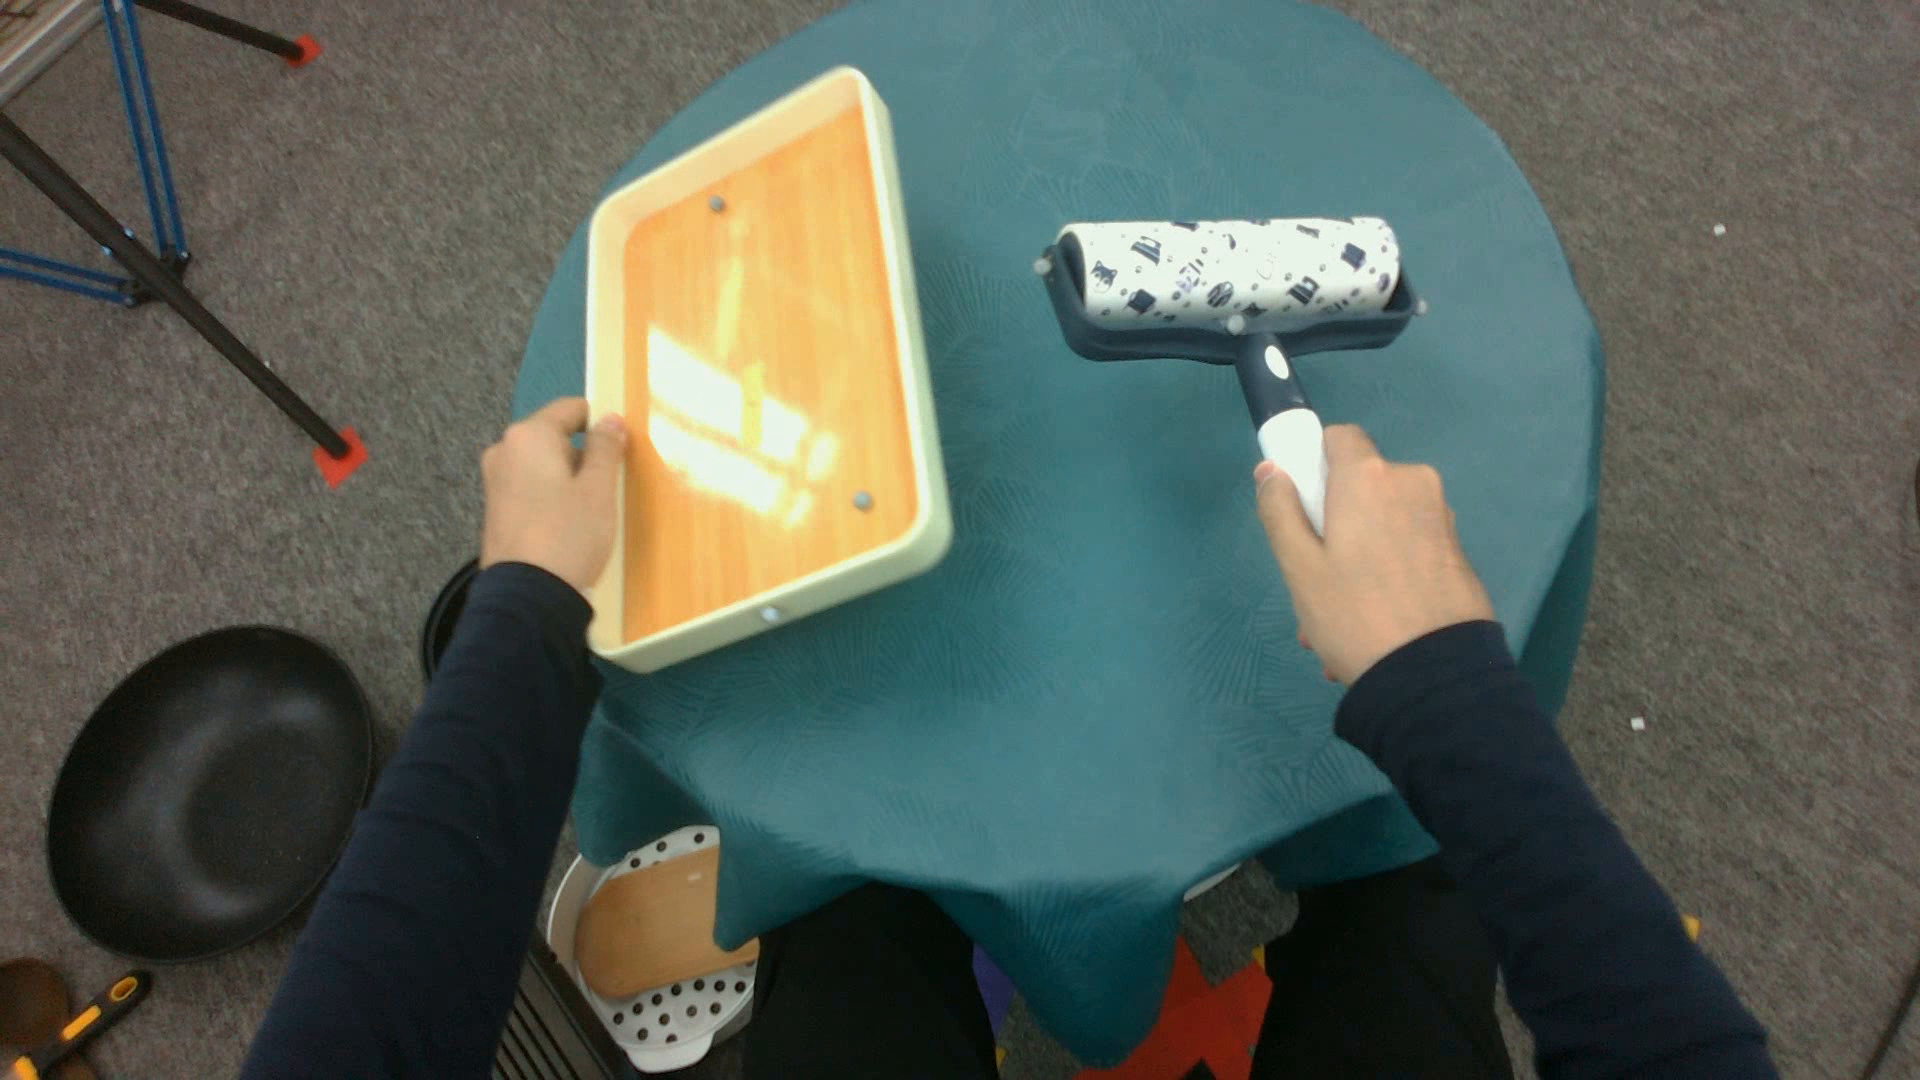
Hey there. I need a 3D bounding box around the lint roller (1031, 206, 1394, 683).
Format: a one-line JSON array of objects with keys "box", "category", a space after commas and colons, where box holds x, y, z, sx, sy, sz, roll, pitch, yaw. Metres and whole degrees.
[{"box": [0.143, -0.054, 0.620, 0.176, 0.050, 0.248, -4, 58, -17], "category": "lint roller"}]

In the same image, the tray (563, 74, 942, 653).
[{"box": [-0.113, -0.100, 0.707, 0.191, 0.027, 0.301, -18, 57, 16], "category": "tray"}]
